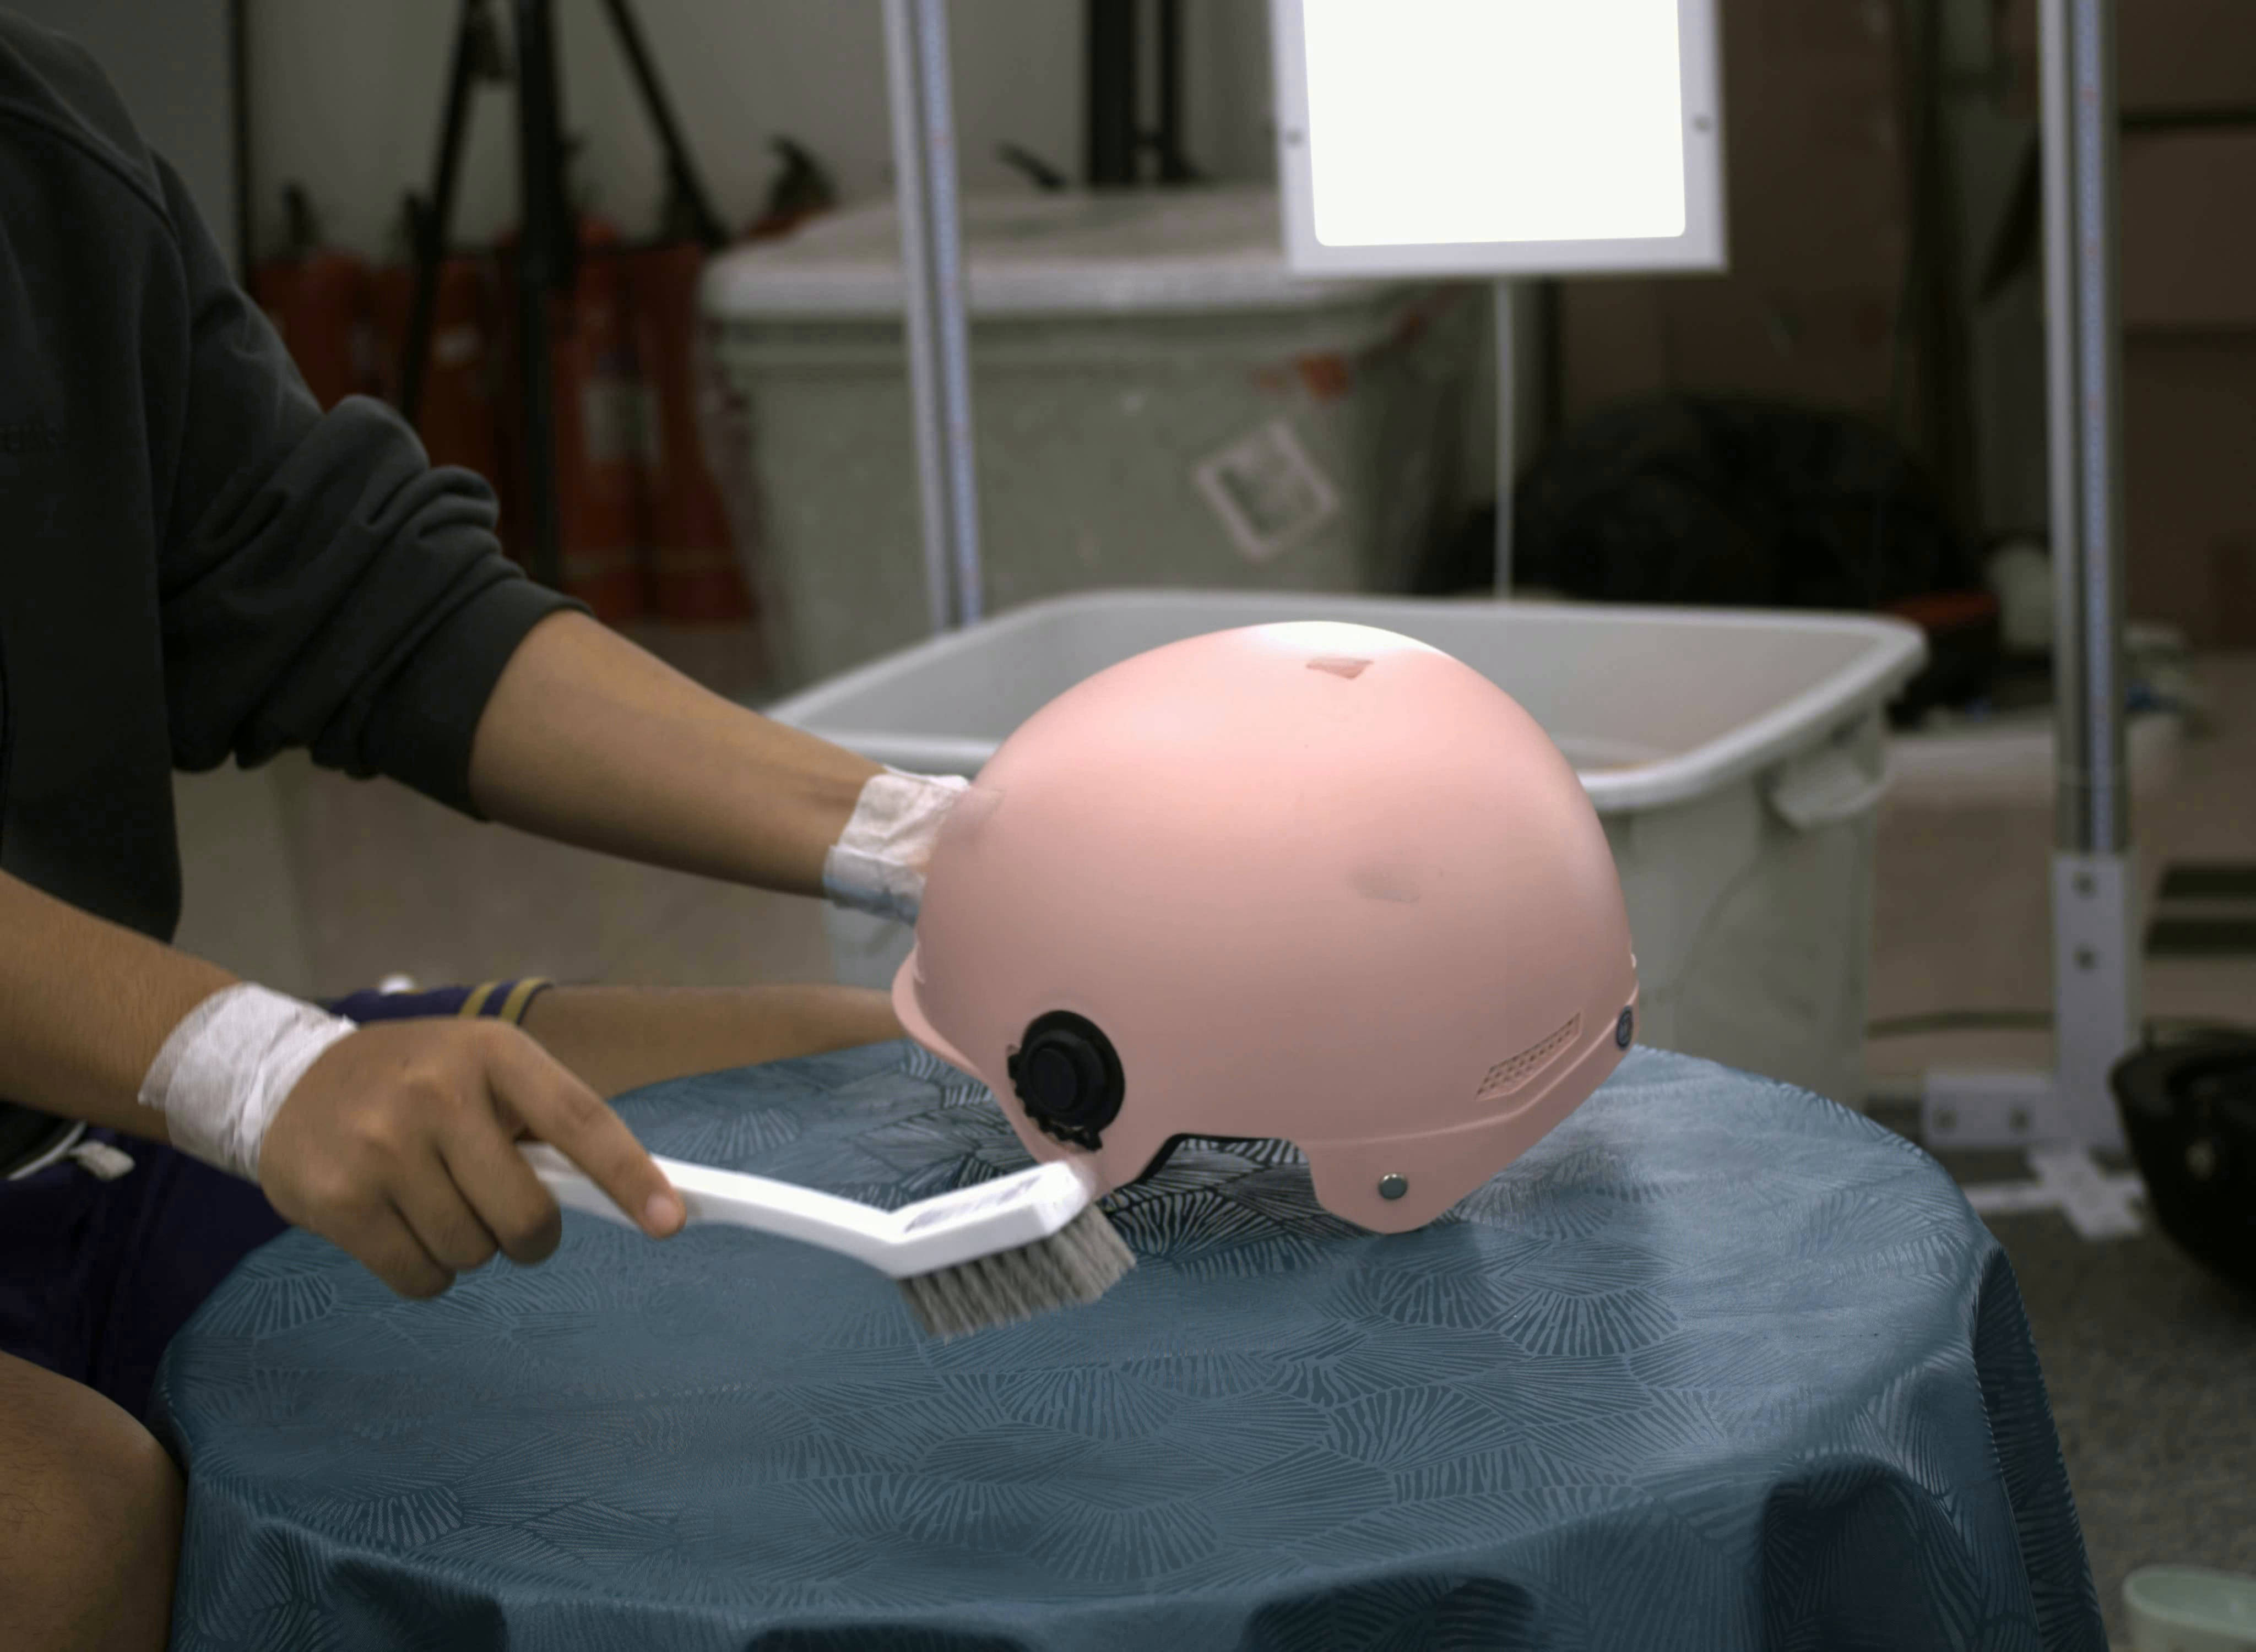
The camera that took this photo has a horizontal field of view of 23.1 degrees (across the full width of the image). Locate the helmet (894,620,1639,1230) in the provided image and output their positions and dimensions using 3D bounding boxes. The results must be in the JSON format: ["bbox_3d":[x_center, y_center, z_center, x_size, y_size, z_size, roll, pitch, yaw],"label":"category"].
[{"bbox_3d":[0.045,0.013,1.896,0.270,0.159,0.229,10,30,24],"label":"helmet"}]

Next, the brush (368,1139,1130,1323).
[{"bbox_3d":[-0.115,0.120,1.636,0.247,0.050,0.034,-1,21,25],"label":"brush"}]
